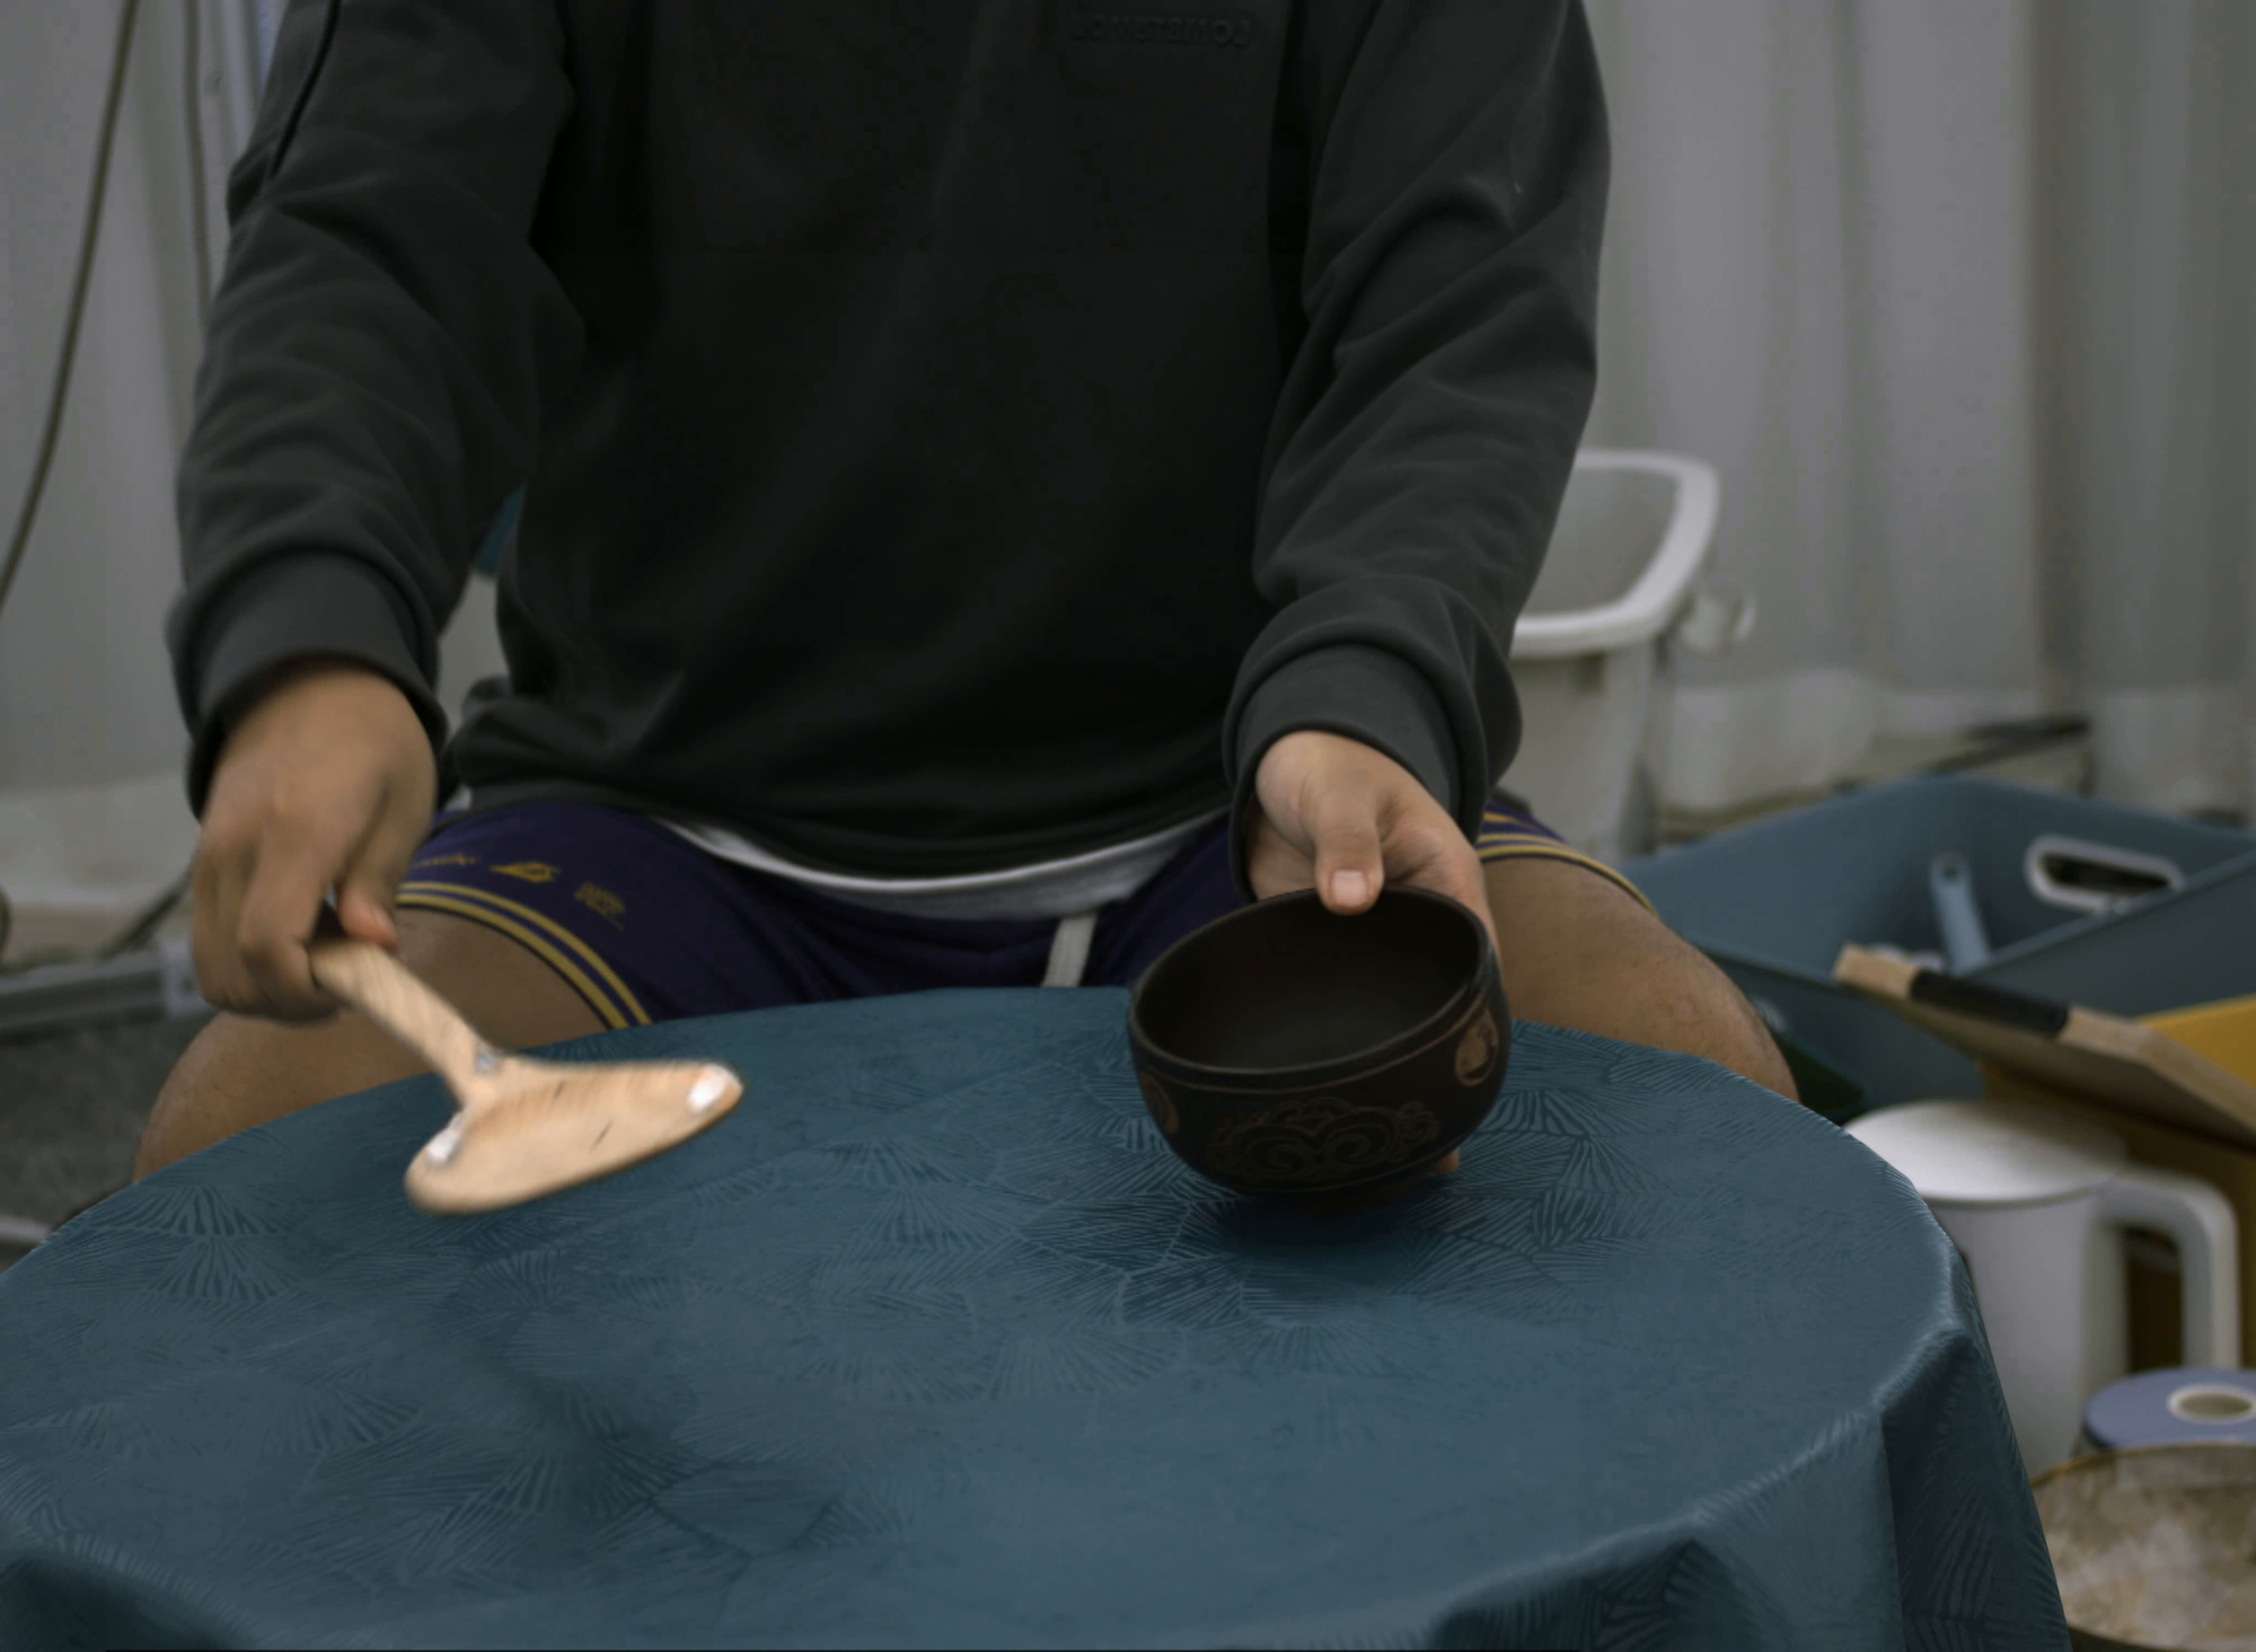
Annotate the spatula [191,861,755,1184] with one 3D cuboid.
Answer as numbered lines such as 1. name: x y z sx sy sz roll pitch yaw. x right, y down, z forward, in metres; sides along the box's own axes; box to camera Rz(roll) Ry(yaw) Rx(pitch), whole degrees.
1. spatula: -0.218 0.052 1.630 0.095 0.018 0.393 -17 19 -23

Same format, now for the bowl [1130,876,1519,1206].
1. bowl: 0.064 0.073 1.682 0.117 0.069 0.119 -11 25 5
